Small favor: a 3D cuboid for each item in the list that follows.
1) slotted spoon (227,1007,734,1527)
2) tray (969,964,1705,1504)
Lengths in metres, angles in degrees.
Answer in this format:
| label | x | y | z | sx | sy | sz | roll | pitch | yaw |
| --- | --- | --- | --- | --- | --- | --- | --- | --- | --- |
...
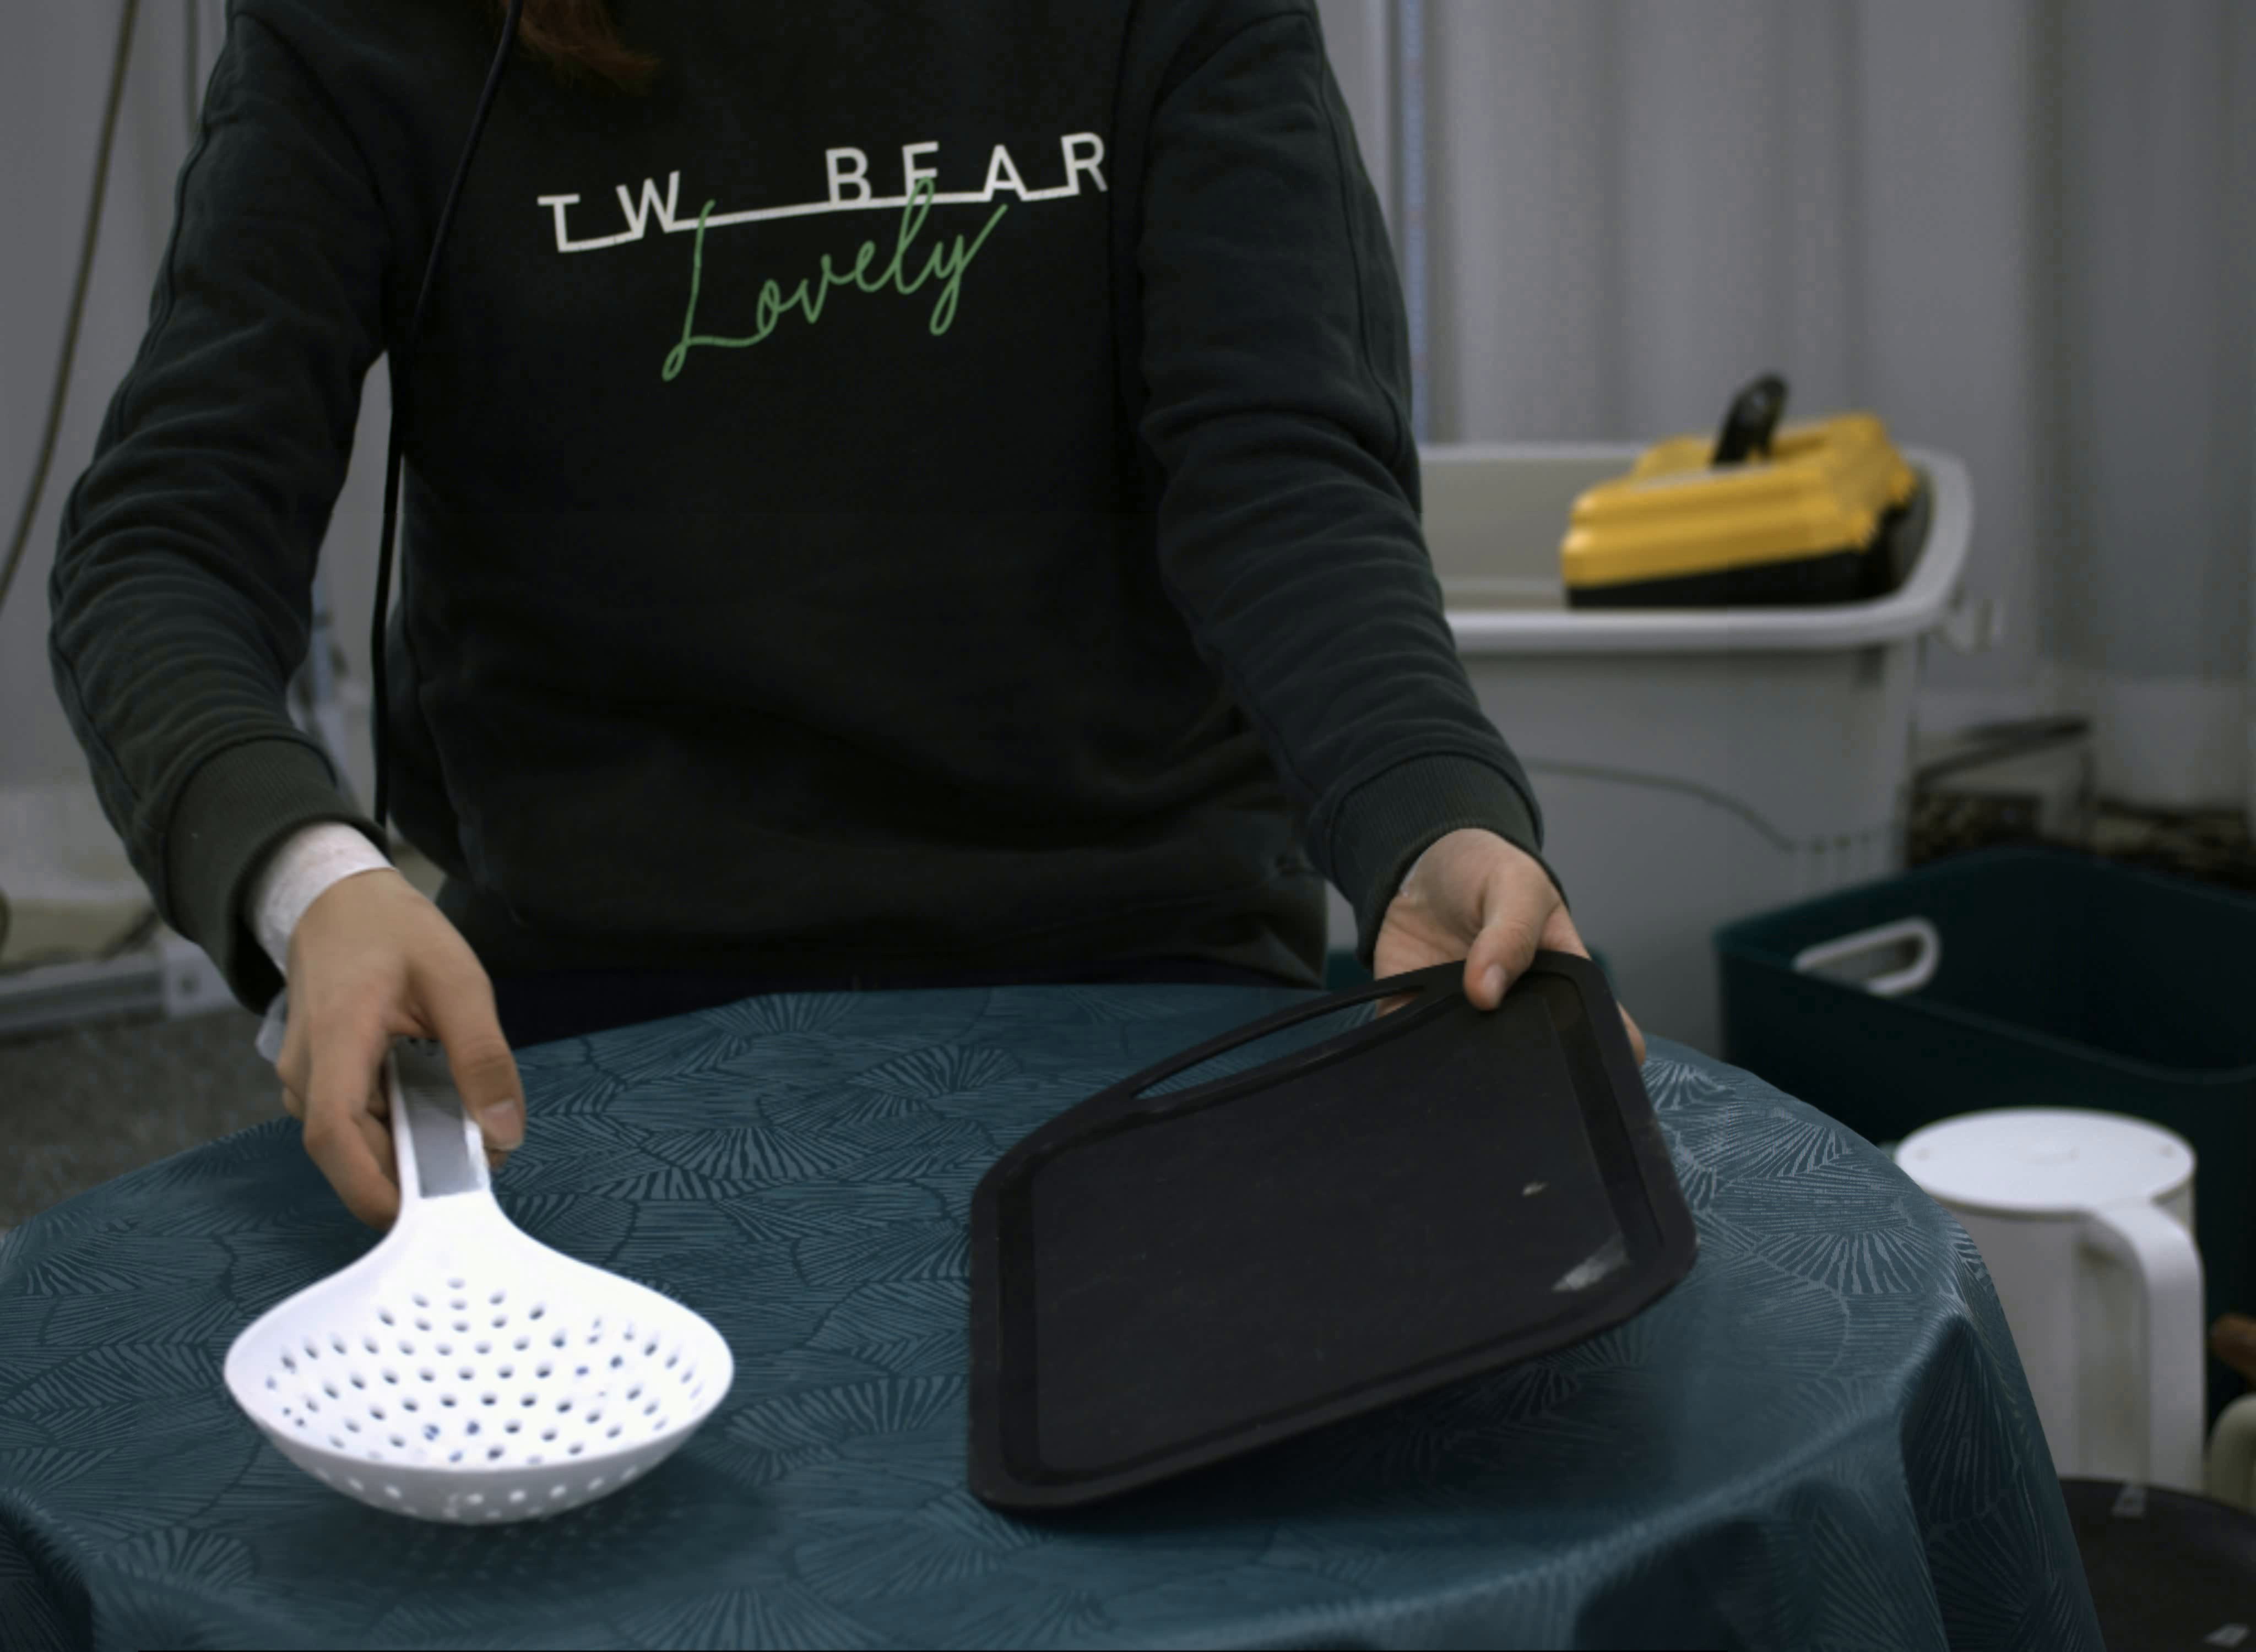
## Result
| label | x | y | z | sx | sy | sz | roll | pitch | yaw |
| --- | --- | --- | --- | --- | --- | --- | --- | --- | --- |
| slotted spoon | -0.193 | 0.119 | 1.574 | 0.135 | 0.045 | 0.353 | 0 | 23 | -10 |
| tray | 0.053 | 0.109 | 1.587 | 0.210 | 0.010 | 0.328 | -19 | 16 | 4 |
